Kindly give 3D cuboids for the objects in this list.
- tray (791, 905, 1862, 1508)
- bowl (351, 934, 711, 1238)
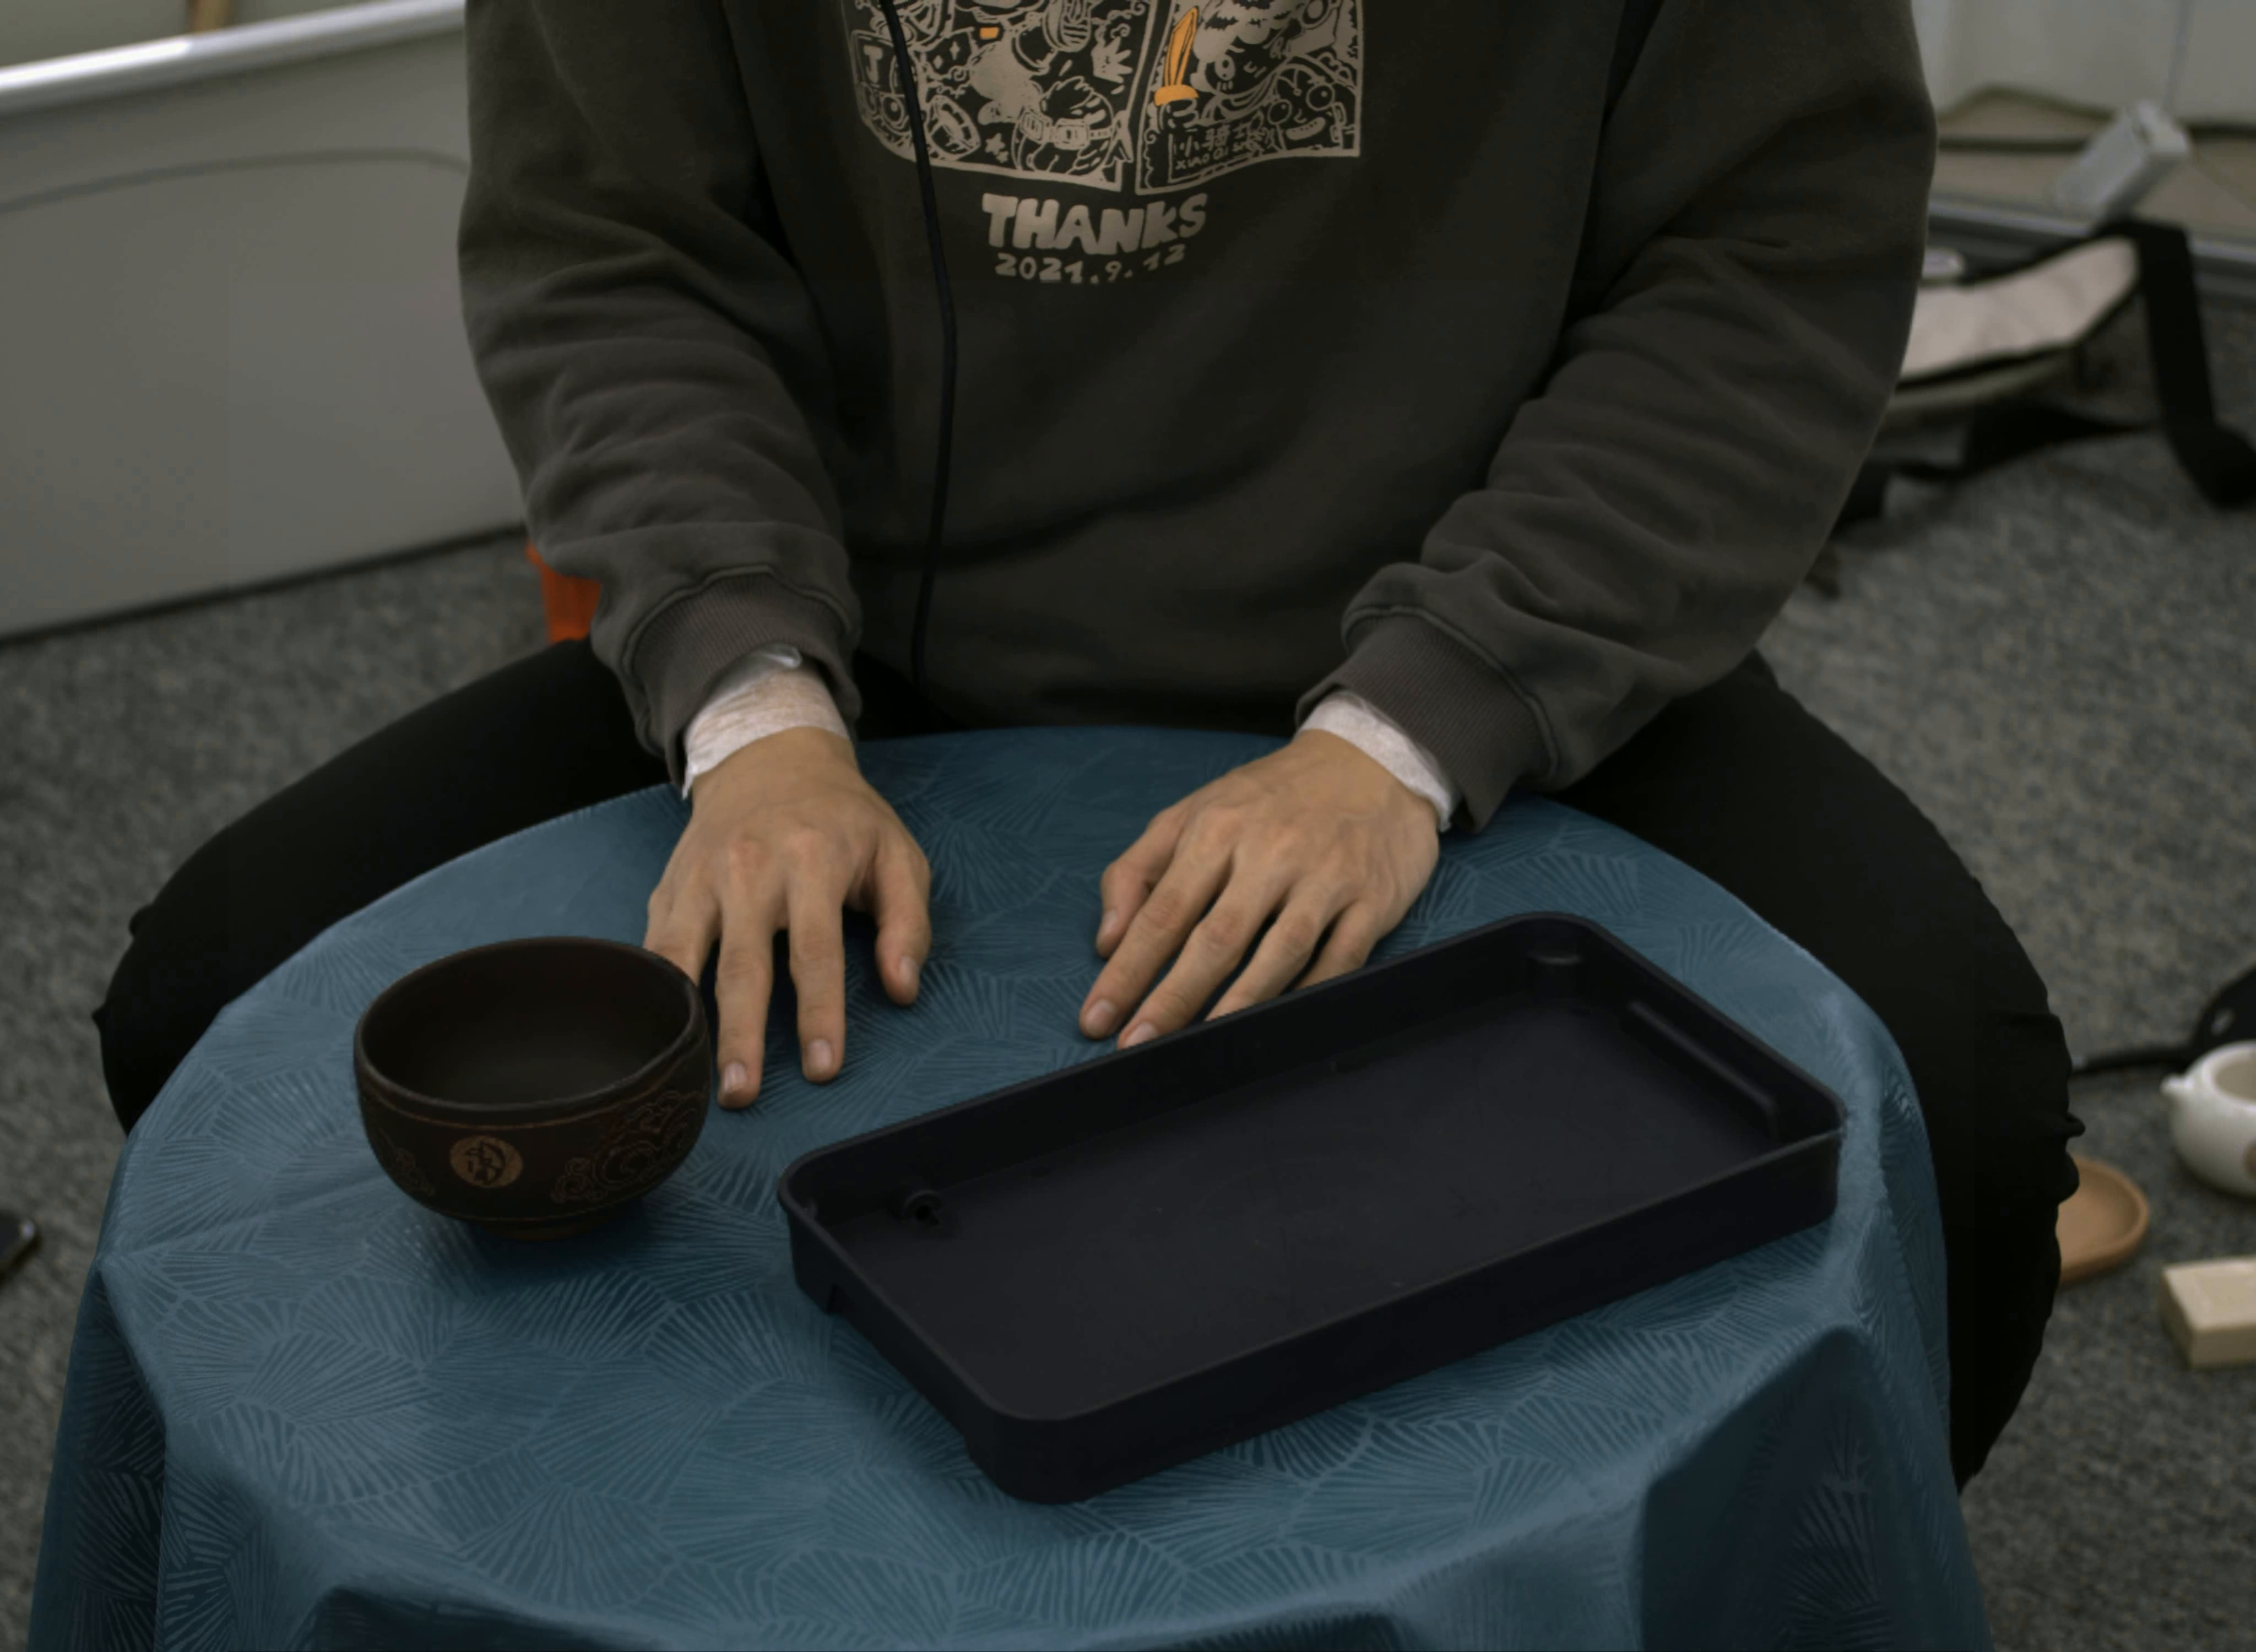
[{"bbox_3d":[0.065,0.118,1.825,0.320,0.036,0.185,-19,31,-27],"label":"tray"},{"bbox_3d":[-0.195,0.093,1.858,0.117,0.069,0.120,-3,26,2],"label":"bowl"}]
